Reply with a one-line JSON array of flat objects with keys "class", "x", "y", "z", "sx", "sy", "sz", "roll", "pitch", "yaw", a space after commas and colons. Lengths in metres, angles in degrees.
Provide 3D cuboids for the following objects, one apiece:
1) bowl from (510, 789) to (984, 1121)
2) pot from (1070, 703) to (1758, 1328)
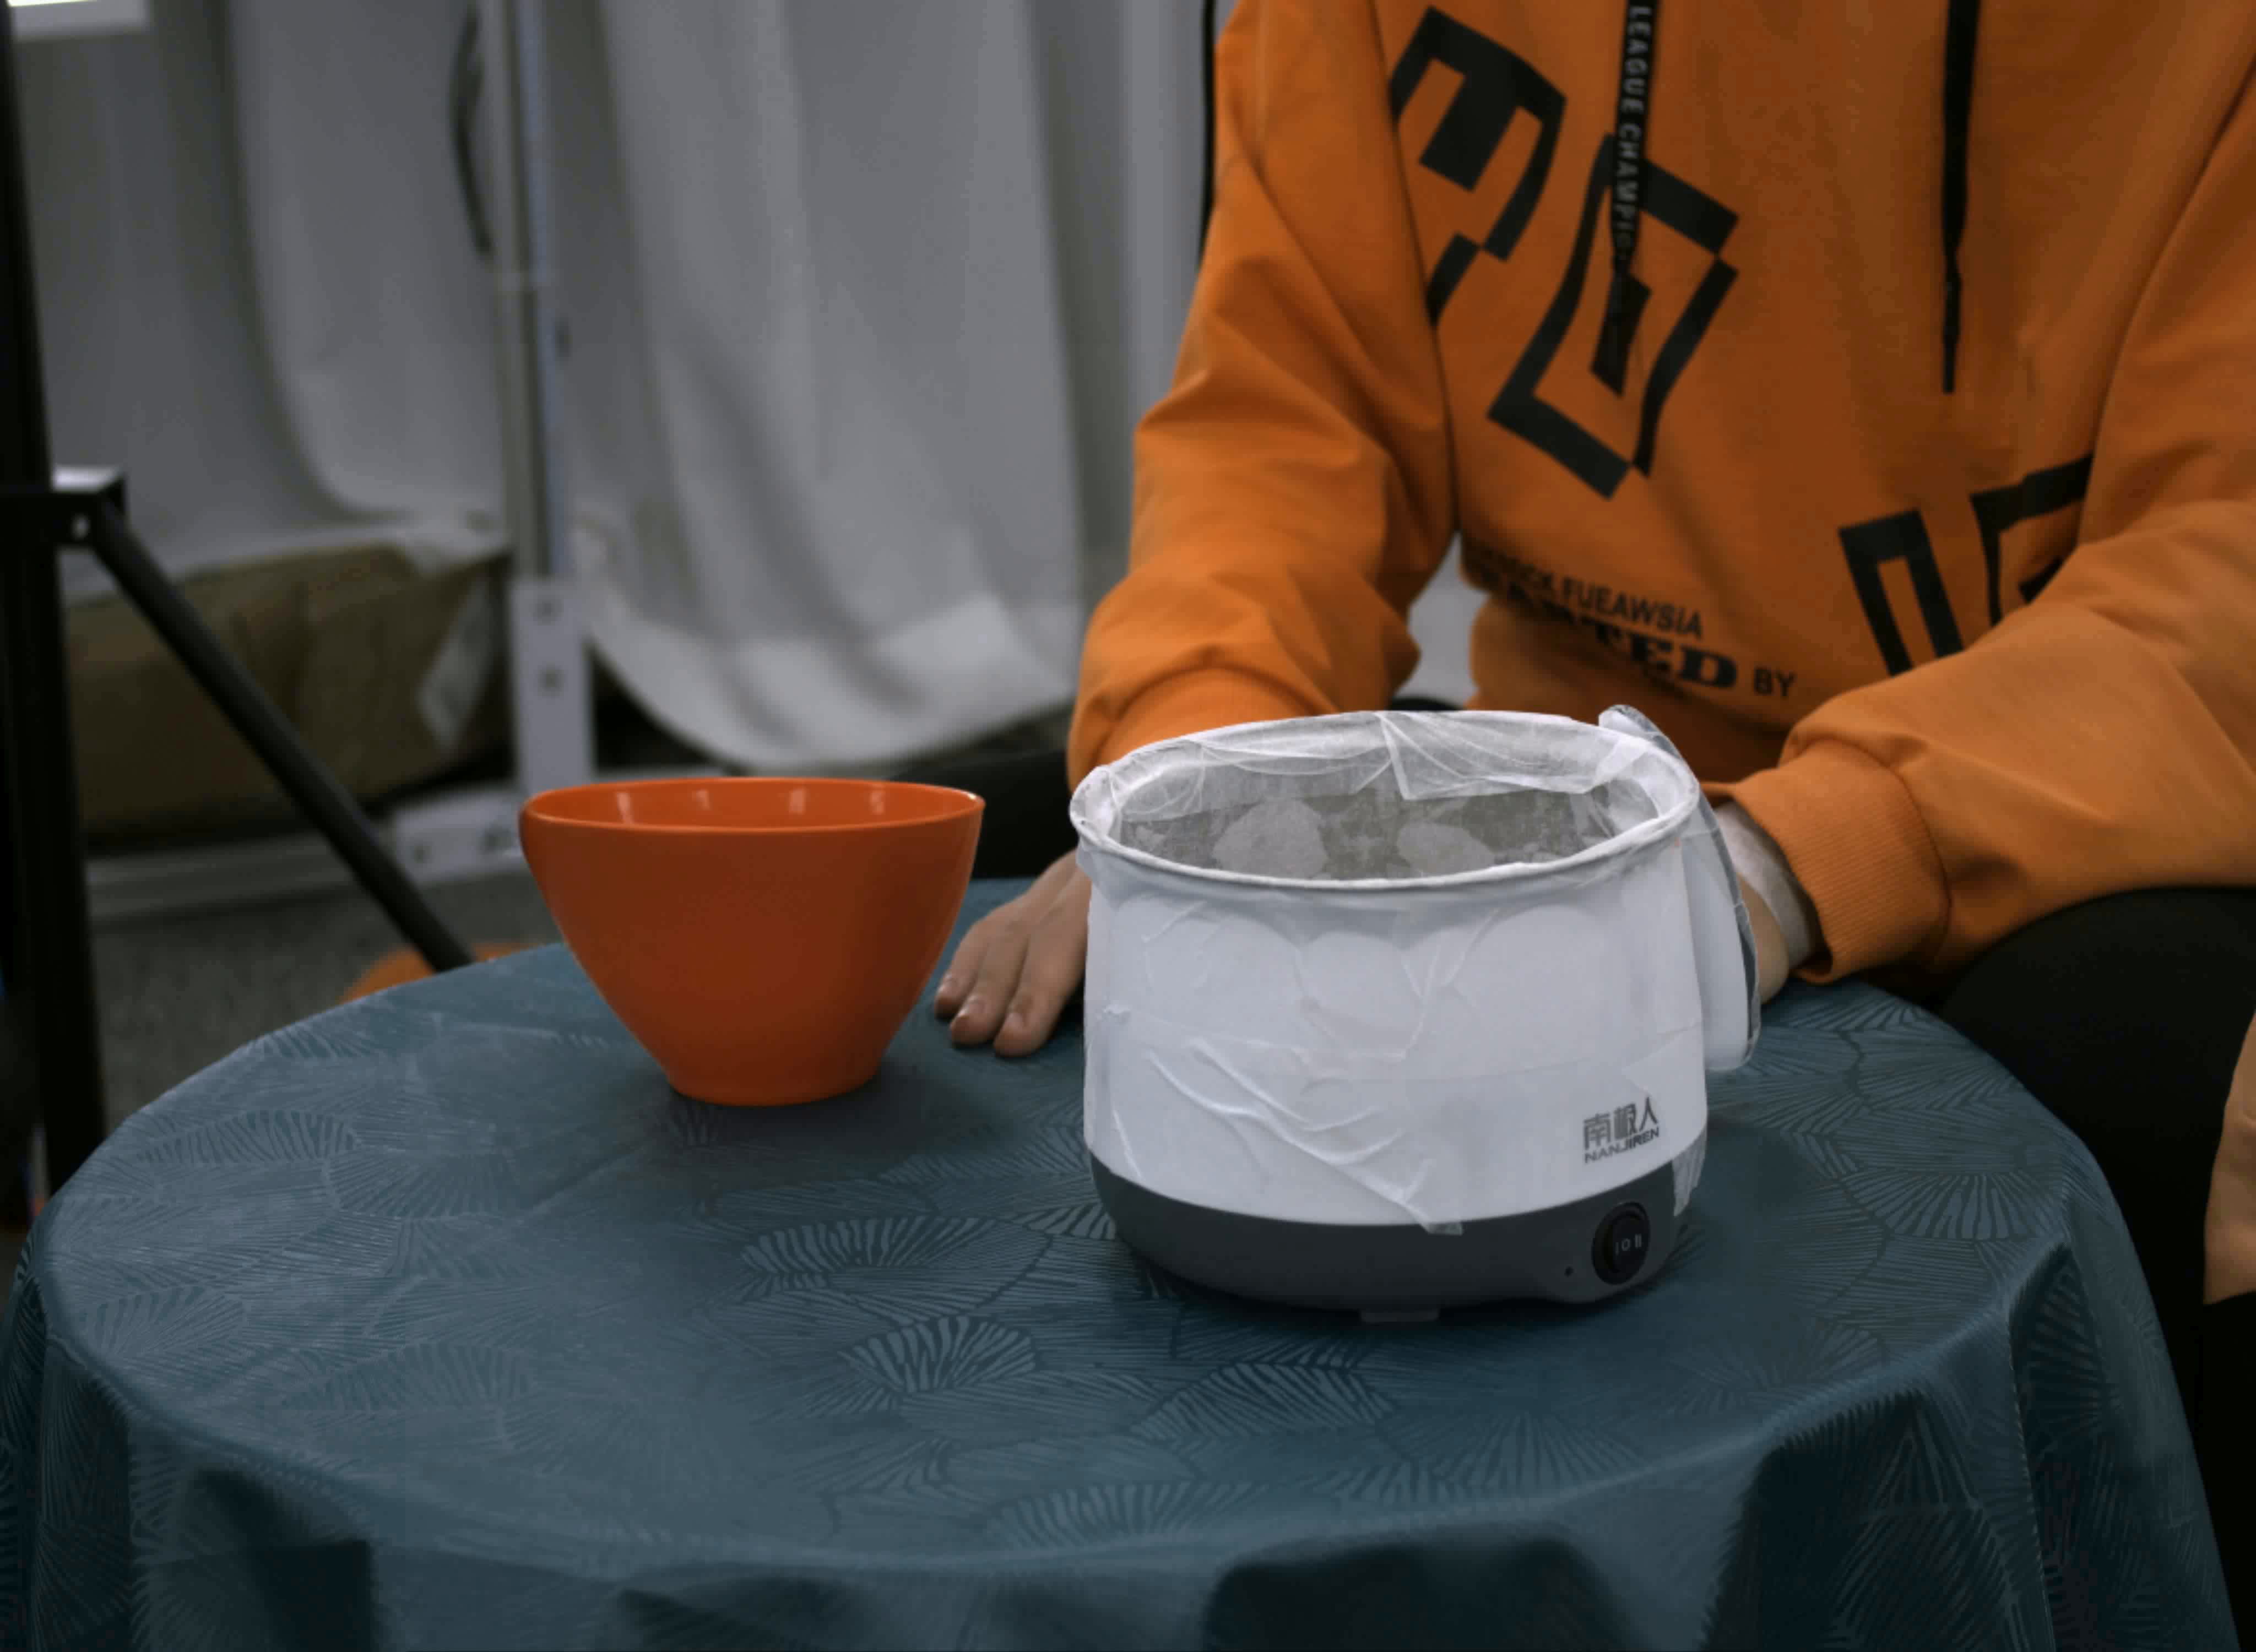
[{"class": "bowl", "x": -0.117, "y": 0.036, "z": 1.659, "sx": 0.147, "sy": 0.105, "sz": 0.149, "roll": -1, "pitch": 14, "yaw": -1}, {"class": "pot", "x": 0.094, "y": 0.046, "z": 1.511, "sx": 0.228, "sy": 0.136, "sz": 0.183, "roll": -17, "pitch": 21, "yaw": -41}]
